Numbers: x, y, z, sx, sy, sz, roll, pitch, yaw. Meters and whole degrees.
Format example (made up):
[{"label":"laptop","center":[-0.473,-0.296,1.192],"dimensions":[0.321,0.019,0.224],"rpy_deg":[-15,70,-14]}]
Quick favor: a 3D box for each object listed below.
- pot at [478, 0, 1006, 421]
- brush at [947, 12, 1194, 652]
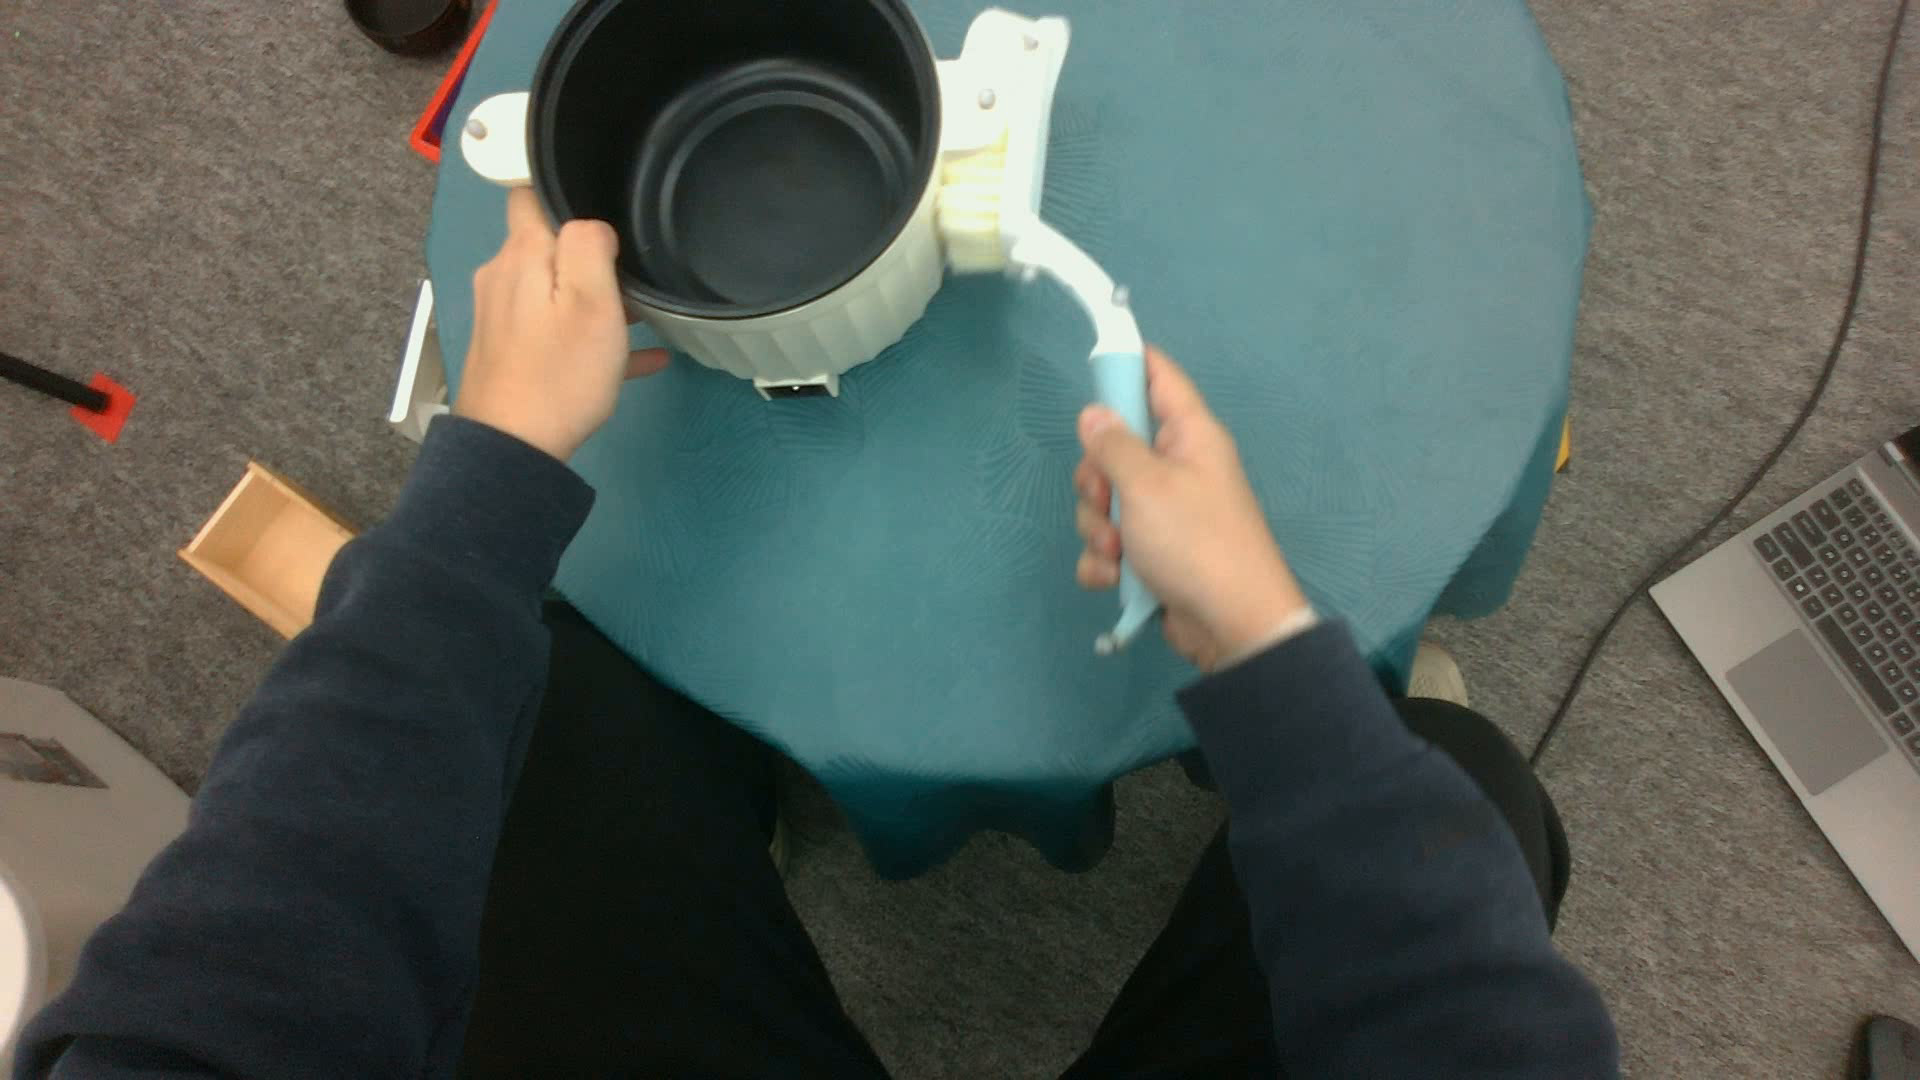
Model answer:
[{"label":"pot","center":[-0.093,-0.165,0.672],"dimensions":[0.240,0.142,0.191],"rpy_deg":[-6,82,4]},{"label":"brush","center":[0.031,-0.104,0.626],"dimensions":[0.084,0.083,0.326],"rpy_deg":[-23,65,39]}]
